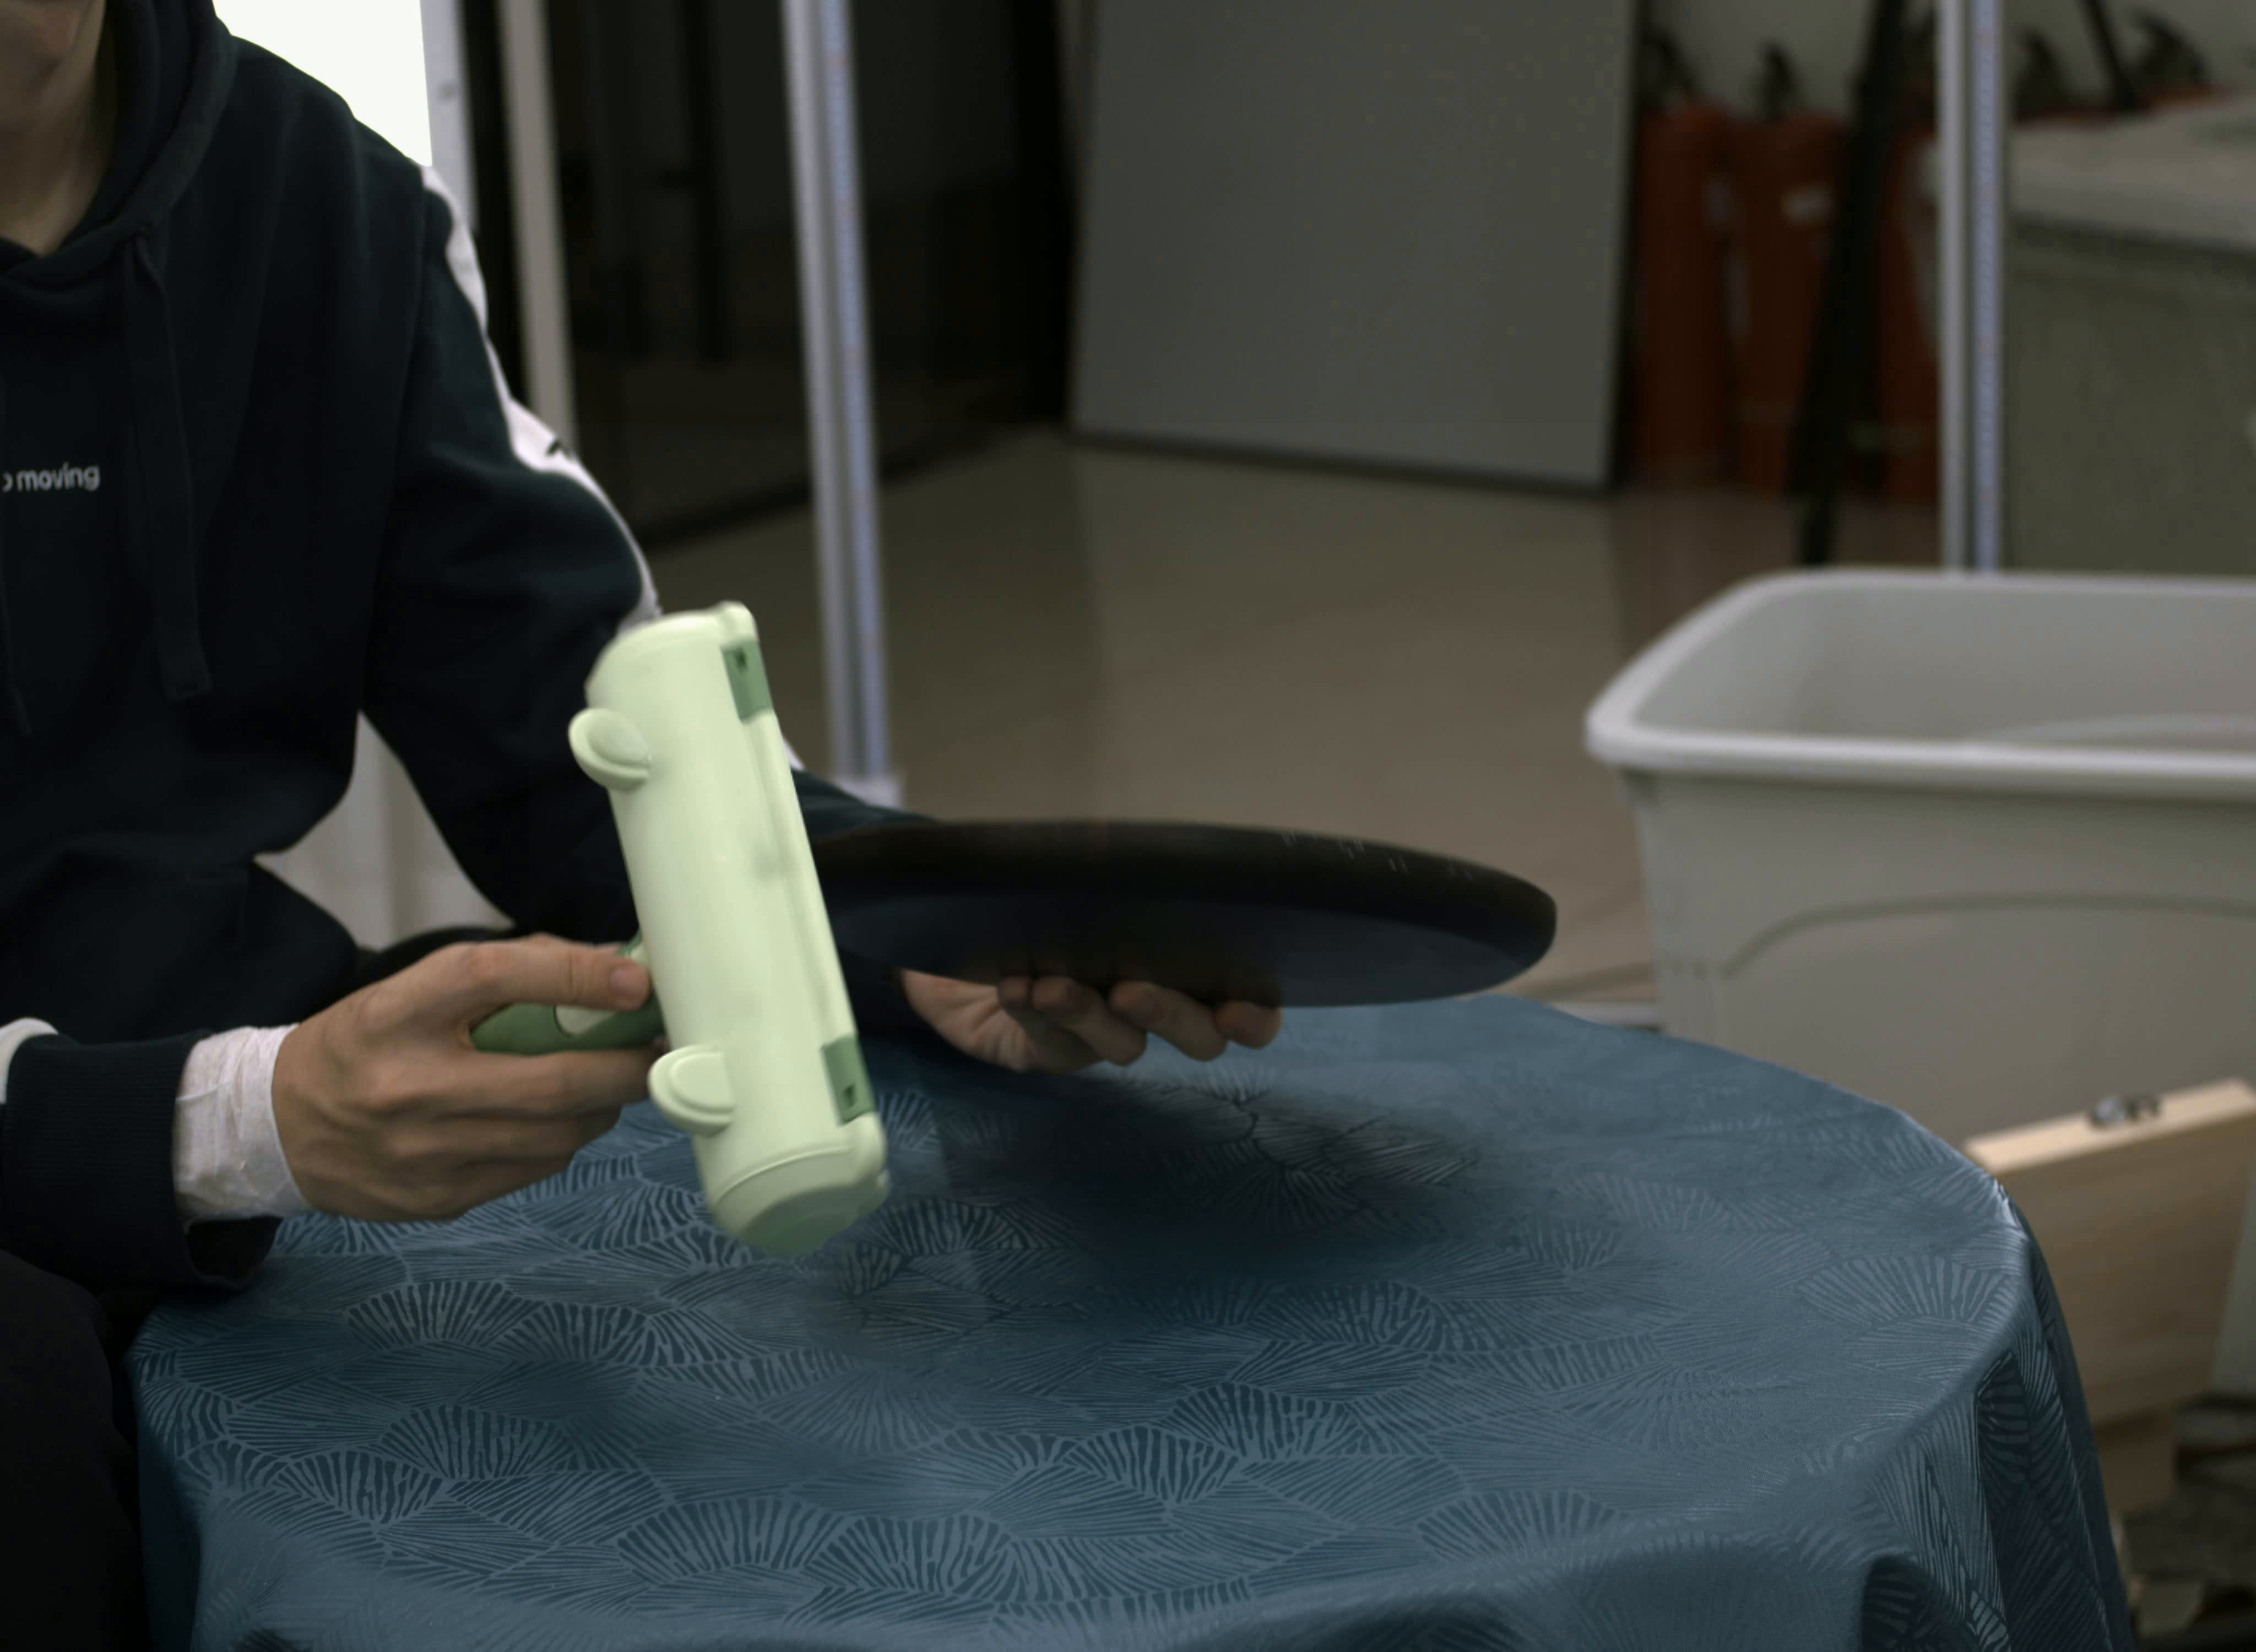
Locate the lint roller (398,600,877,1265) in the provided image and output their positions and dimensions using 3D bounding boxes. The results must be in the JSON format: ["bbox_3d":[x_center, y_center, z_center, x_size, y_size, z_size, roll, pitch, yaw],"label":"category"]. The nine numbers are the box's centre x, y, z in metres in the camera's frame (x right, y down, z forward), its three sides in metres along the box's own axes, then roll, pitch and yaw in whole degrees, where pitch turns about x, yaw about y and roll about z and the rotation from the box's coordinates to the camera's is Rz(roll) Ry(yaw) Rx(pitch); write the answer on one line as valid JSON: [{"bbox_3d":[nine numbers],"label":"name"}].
[{"bbox_3d":[-0.166,0.052,1.624,0.184,0.201,0.081,-27,-29,24],"label":"lint roller"}]

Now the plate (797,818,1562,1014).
[{"bbox_3d":[0.015,0.031,1.738,0.251,0.029,0.255,4,-9,0],"label":"plate"}]
